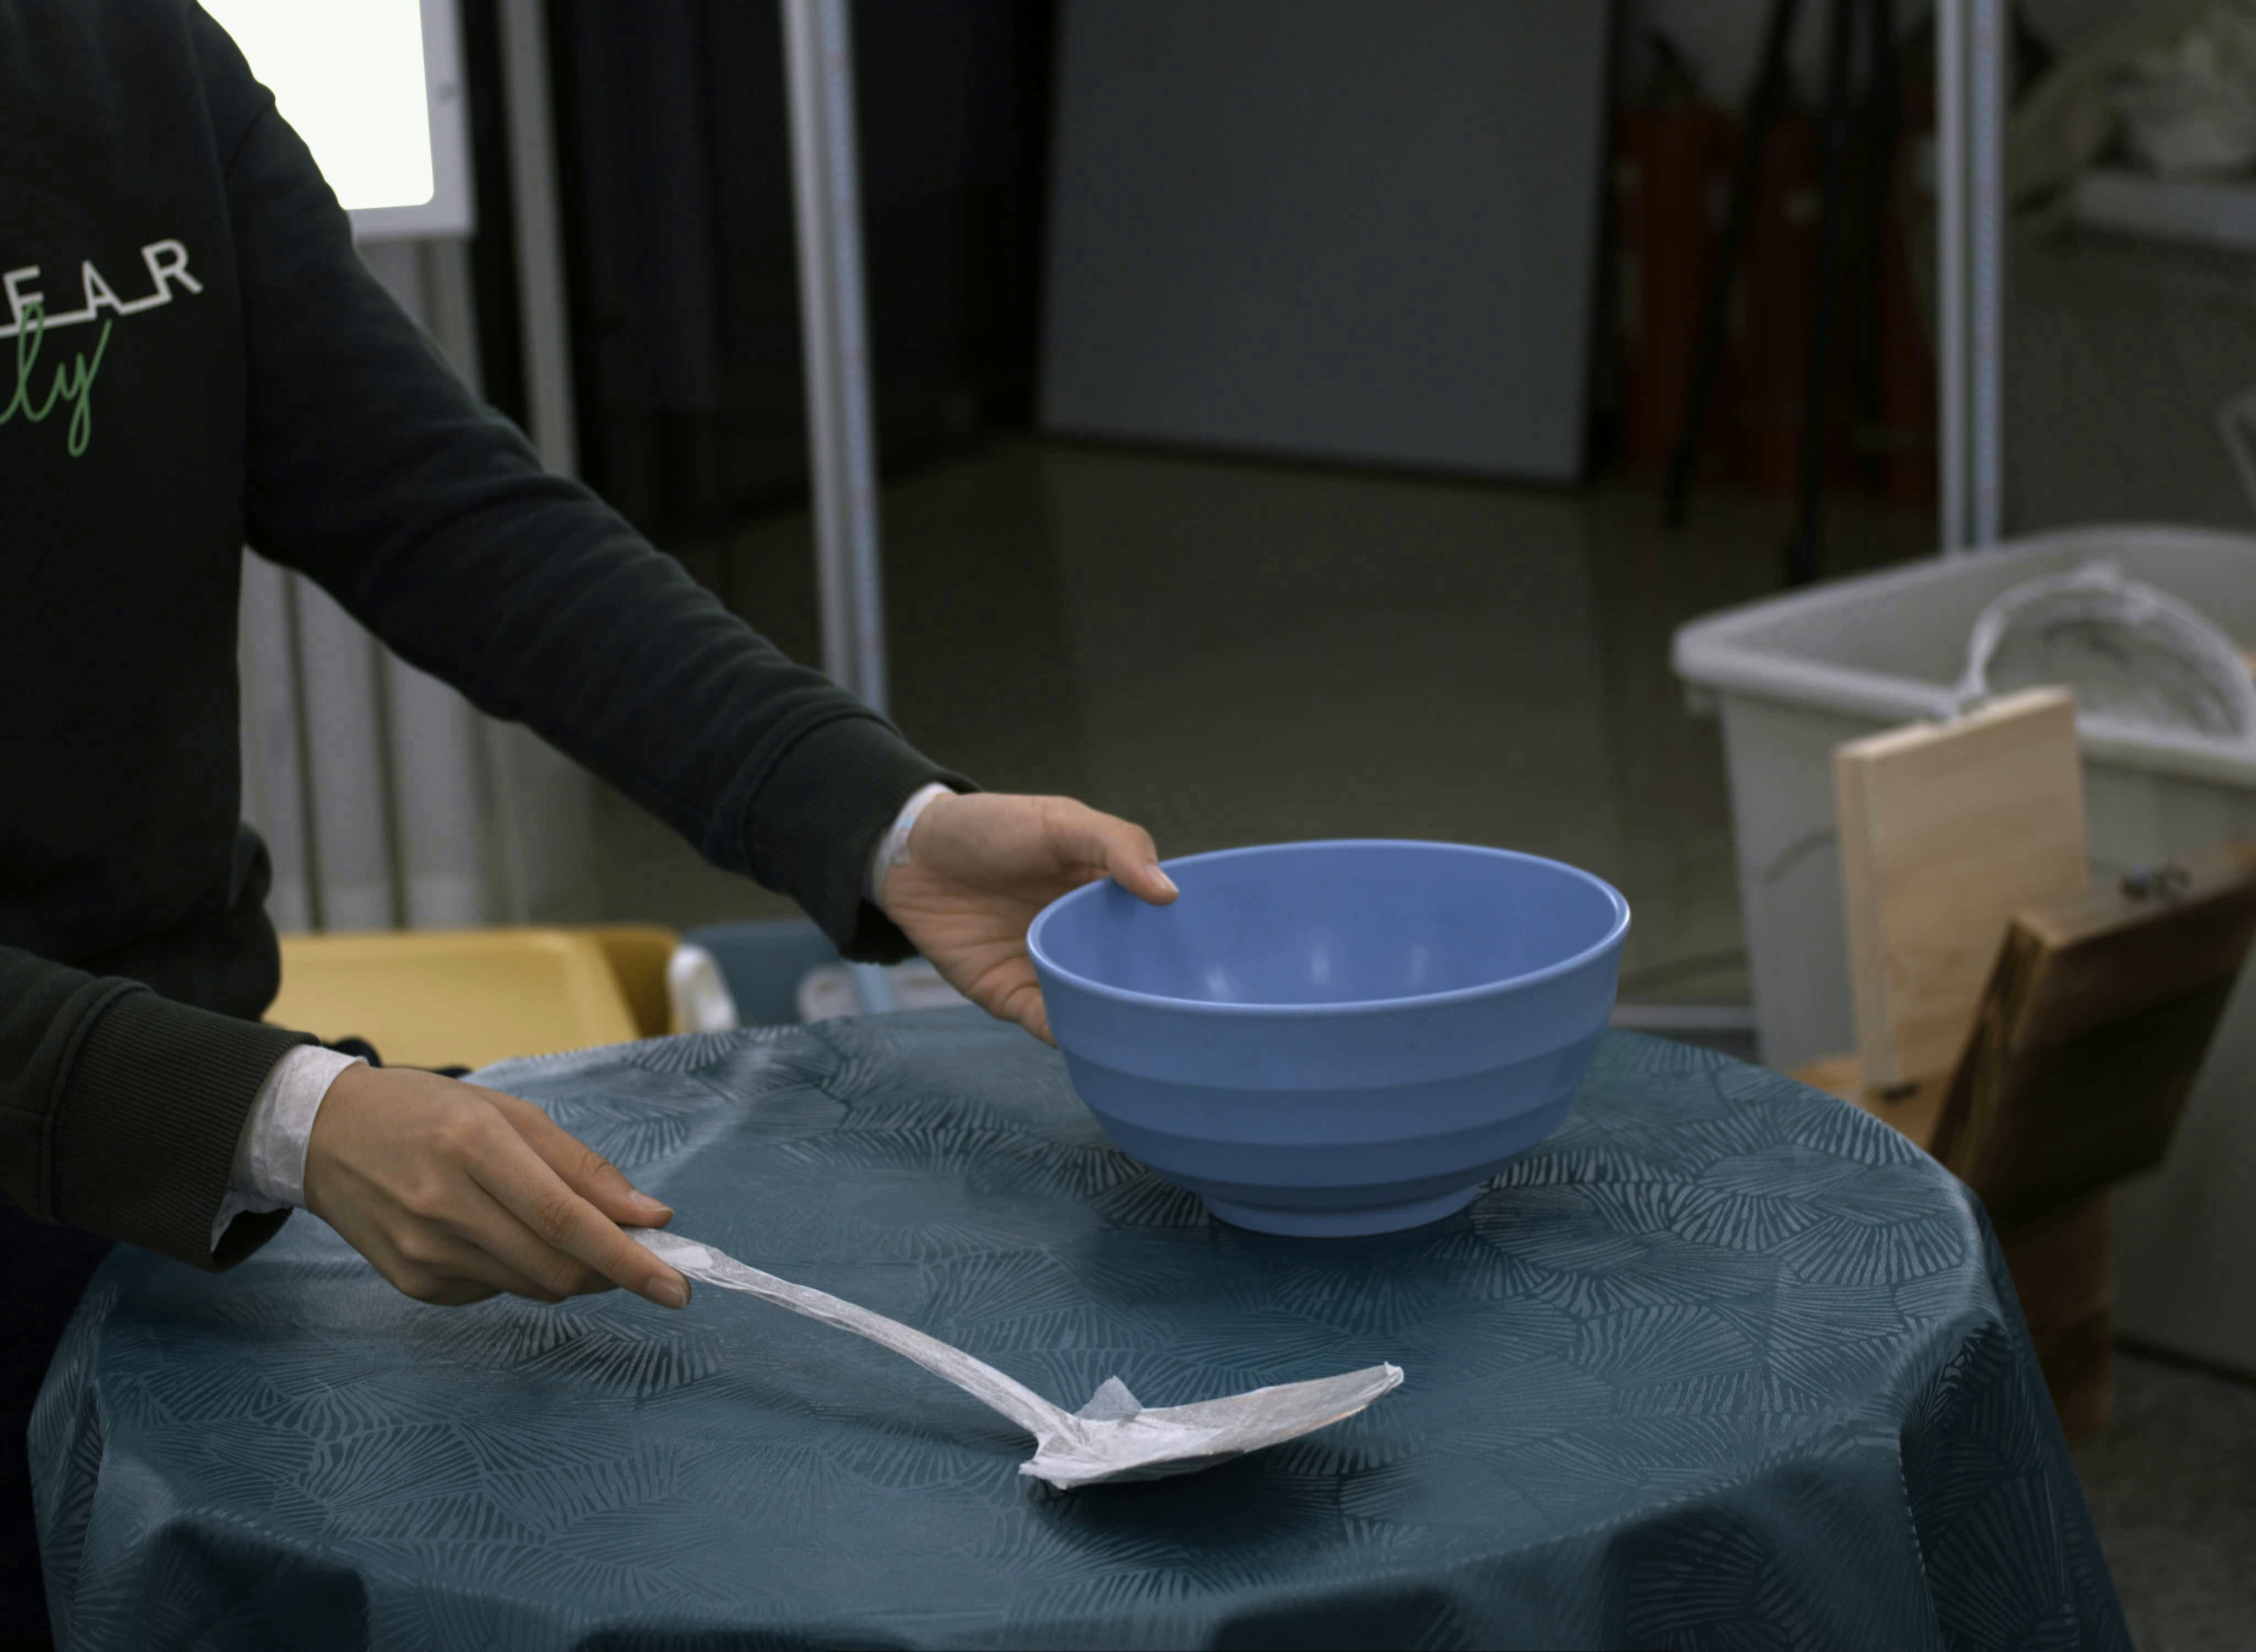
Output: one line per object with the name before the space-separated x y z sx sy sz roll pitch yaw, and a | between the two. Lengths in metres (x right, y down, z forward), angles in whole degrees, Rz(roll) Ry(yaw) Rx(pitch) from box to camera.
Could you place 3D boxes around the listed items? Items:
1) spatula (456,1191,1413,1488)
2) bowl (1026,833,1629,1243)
spatula | -0.078 0.141 1.589 0.368 0.045 0.097 16 23 38
bowl | 0.067 0.074 1.742 0.194 0.096 0.197 -4 15 0
